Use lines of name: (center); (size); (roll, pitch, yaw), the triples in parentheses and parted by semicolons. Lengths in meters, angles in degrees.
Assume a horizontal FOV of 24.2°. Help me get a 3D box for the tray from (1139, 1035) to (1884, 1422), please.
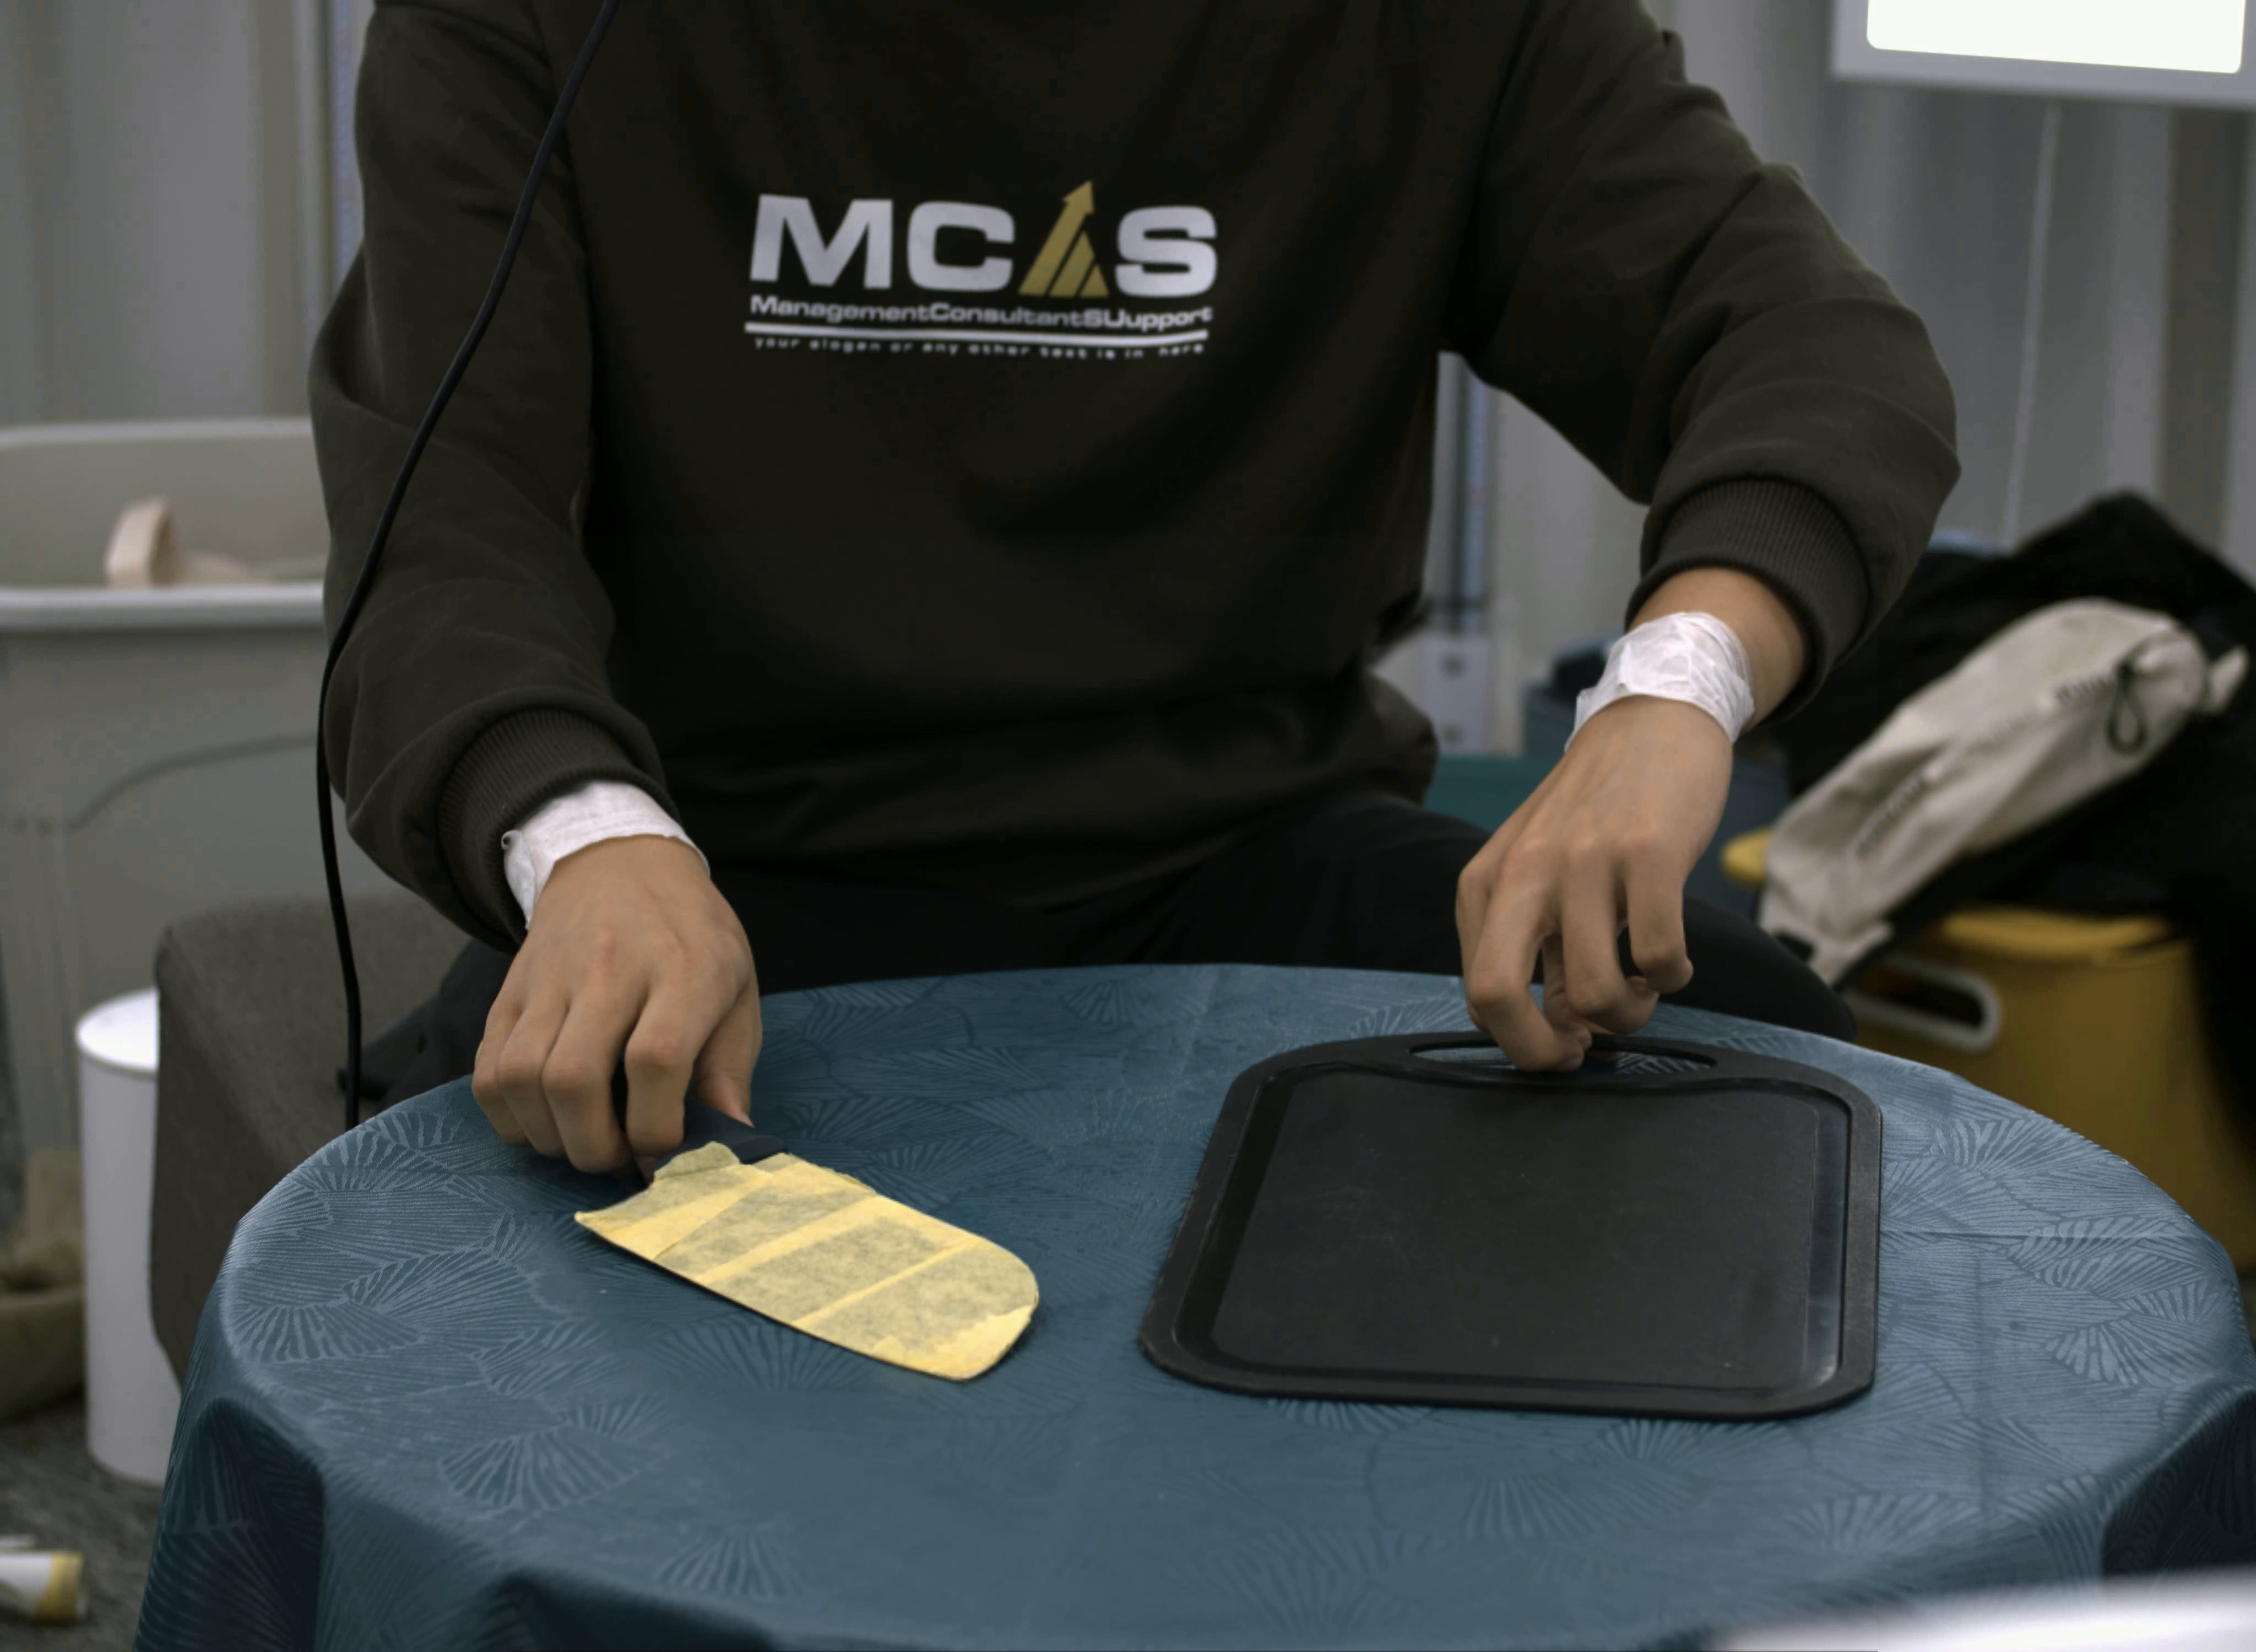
tray: (0.123, 0.114, 1.603); (0.210, 0.010, 0.324); (3, 16, 8)

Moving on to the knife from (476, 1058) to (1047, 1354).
knife: (-0.122, 0.115, 1.584); (0.081, 0.027, 0.285); (-17, 22, -36)
